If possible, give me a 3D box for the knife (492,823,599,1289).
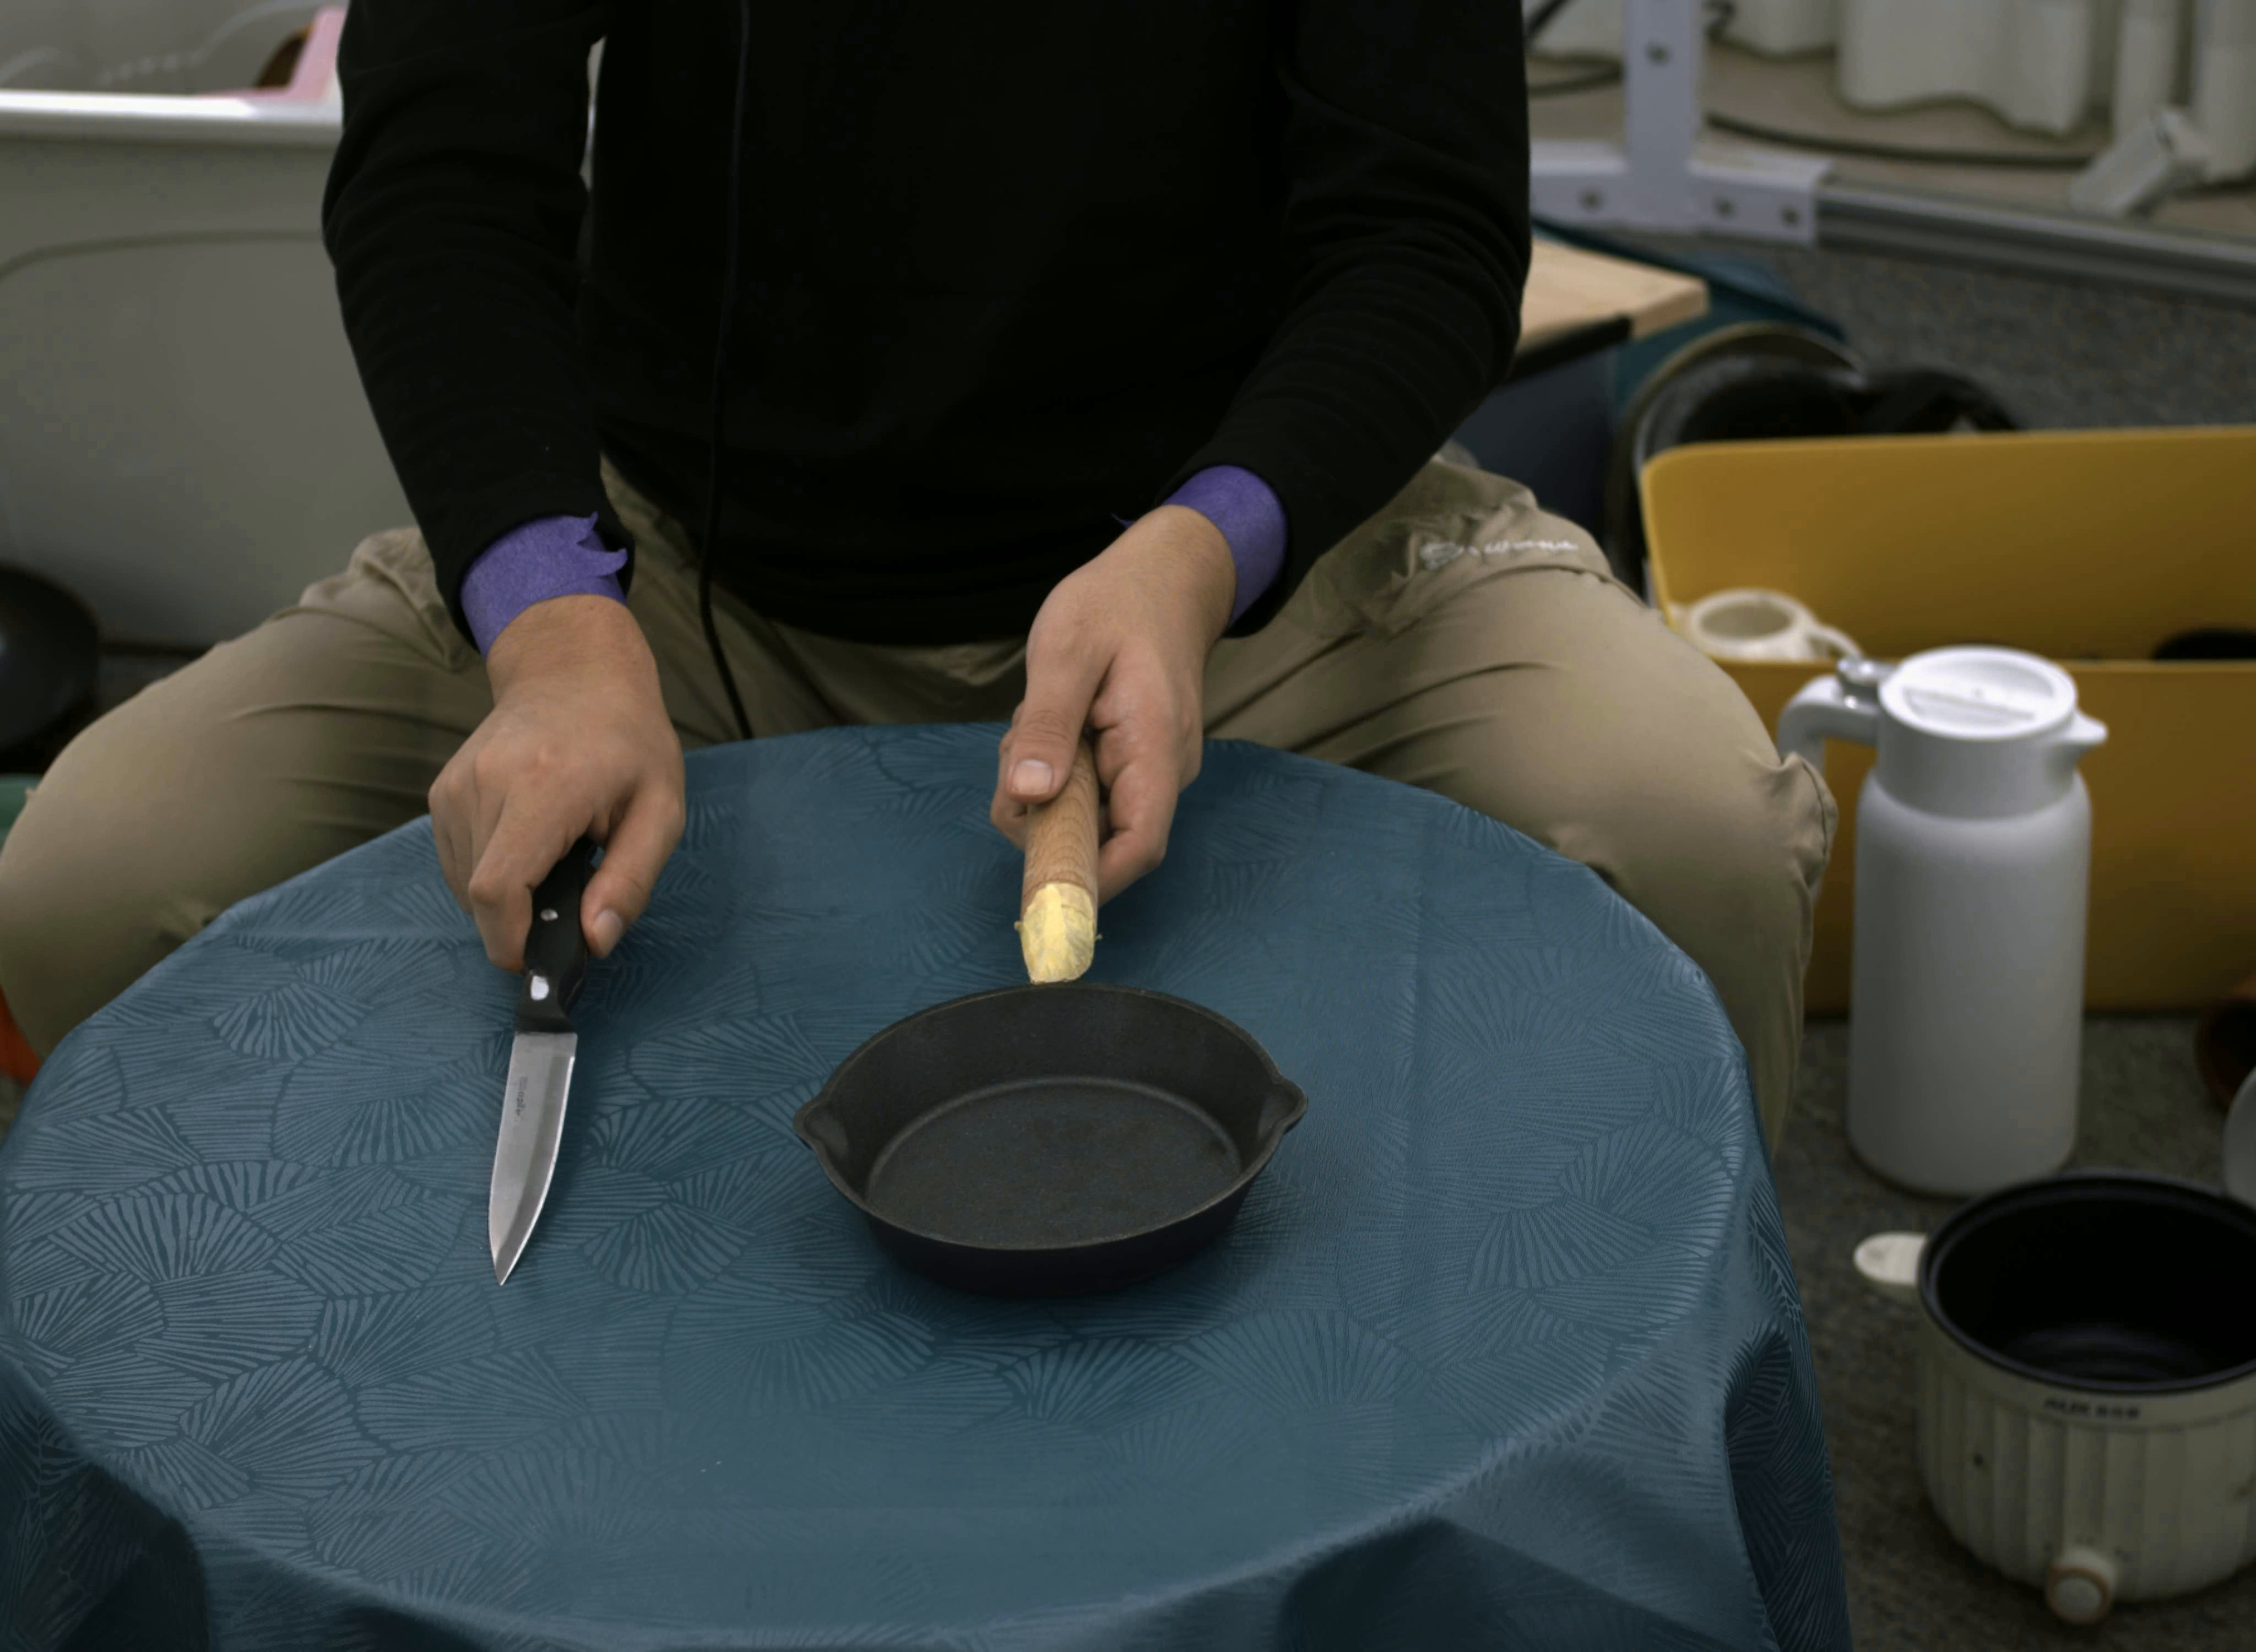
[{"bbox_3d":[-0.201,0.077,1.919,0.024,0.016,0.243,-2,38,3],"label":"knife"}]

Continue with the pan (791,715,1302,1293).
[{"bbox_3d":[-0.022,0.058,1.919,0.168,0.049,0.329,-1,30,3],"label":"pan"}]
